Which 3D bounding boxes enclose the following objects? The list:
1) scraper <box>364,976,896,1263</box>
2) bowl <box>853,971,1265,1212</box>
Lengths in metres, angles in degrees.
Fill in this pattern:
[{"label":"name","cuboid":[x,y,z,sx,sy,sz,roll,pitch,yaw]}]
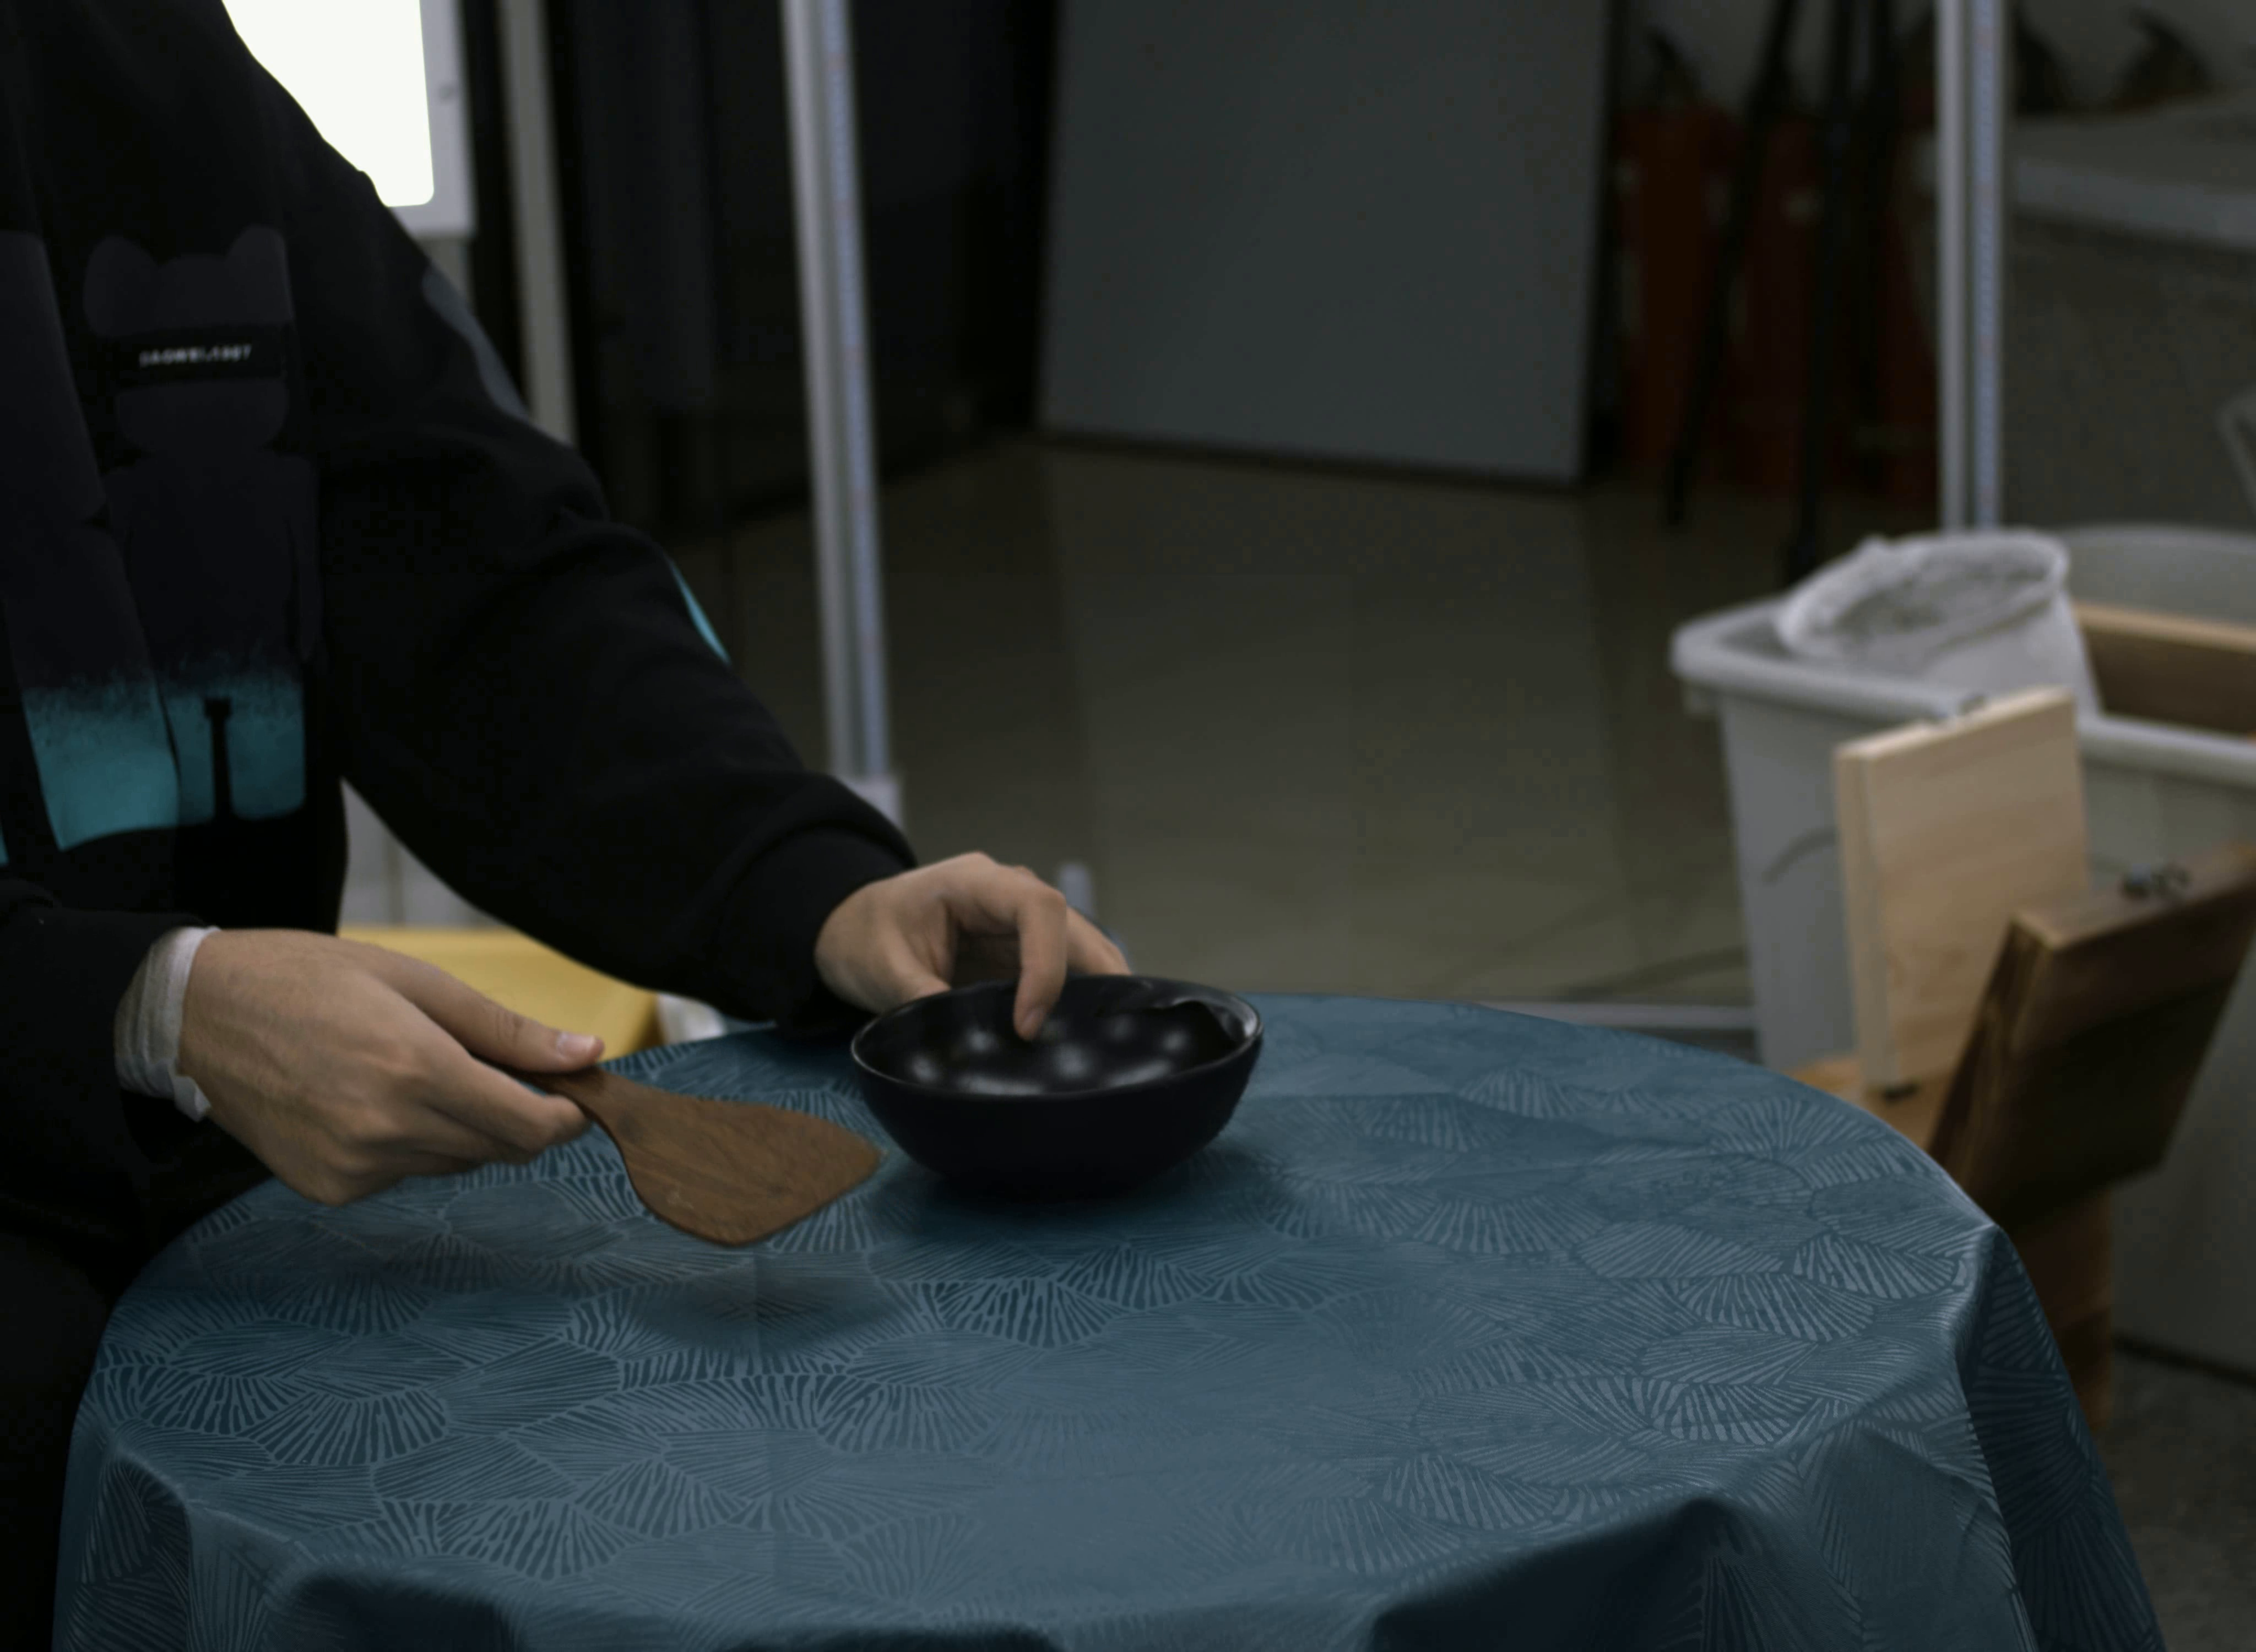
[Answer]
[{"label":"scraper","cuboid":[-0.167,0.089,1.729,0.213,0.011,0.074,24,38,37]},{"label":"bowl","cuboid":[-0.021,0.093,1.793,0.138,0.050,0.140,-6,16,1]}]
